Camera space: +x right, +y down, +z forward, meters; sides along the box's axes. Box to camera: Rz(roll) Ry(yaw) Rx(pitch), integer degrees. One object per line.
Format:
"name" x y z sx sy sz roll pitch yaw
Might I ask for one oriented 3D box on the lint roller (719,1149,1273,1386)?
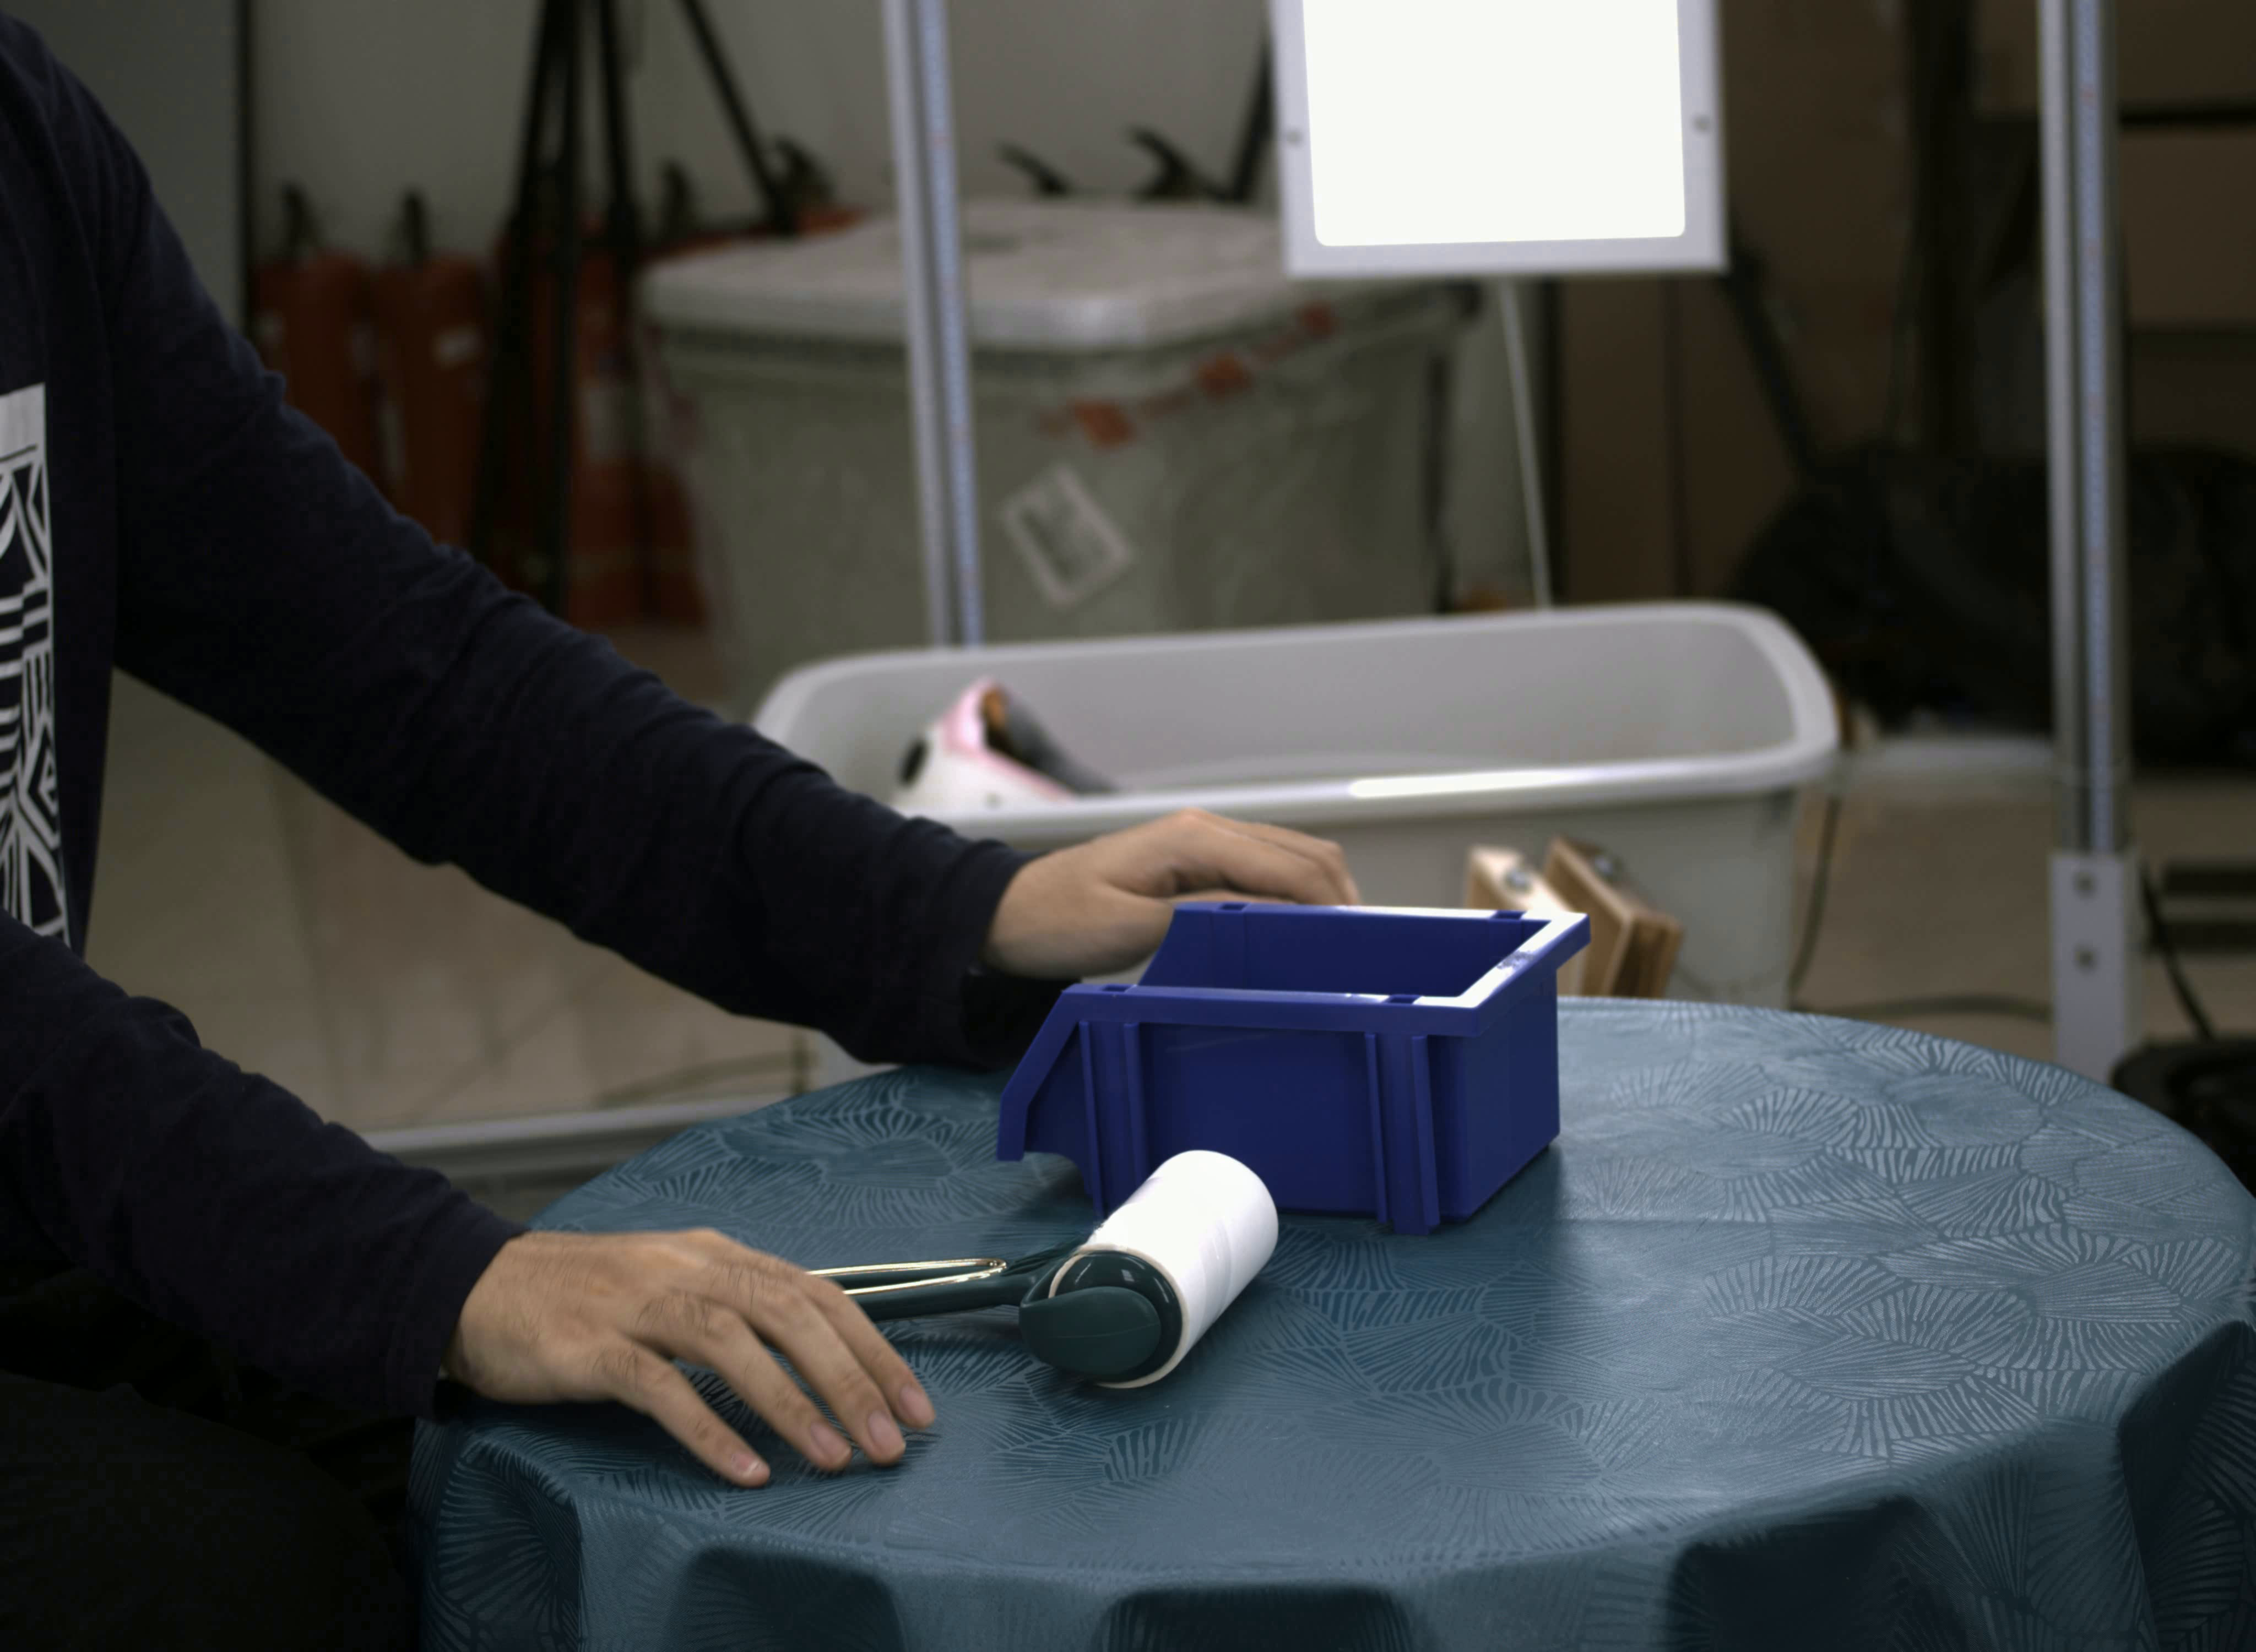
"lint roller" -0.051 0.144 1.770 0.182 0.048 0.132 -5 13 21

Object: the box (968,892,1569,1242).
"box" 0.048 0.081 1.901 0.182 0.082 0.122 5 17 26
